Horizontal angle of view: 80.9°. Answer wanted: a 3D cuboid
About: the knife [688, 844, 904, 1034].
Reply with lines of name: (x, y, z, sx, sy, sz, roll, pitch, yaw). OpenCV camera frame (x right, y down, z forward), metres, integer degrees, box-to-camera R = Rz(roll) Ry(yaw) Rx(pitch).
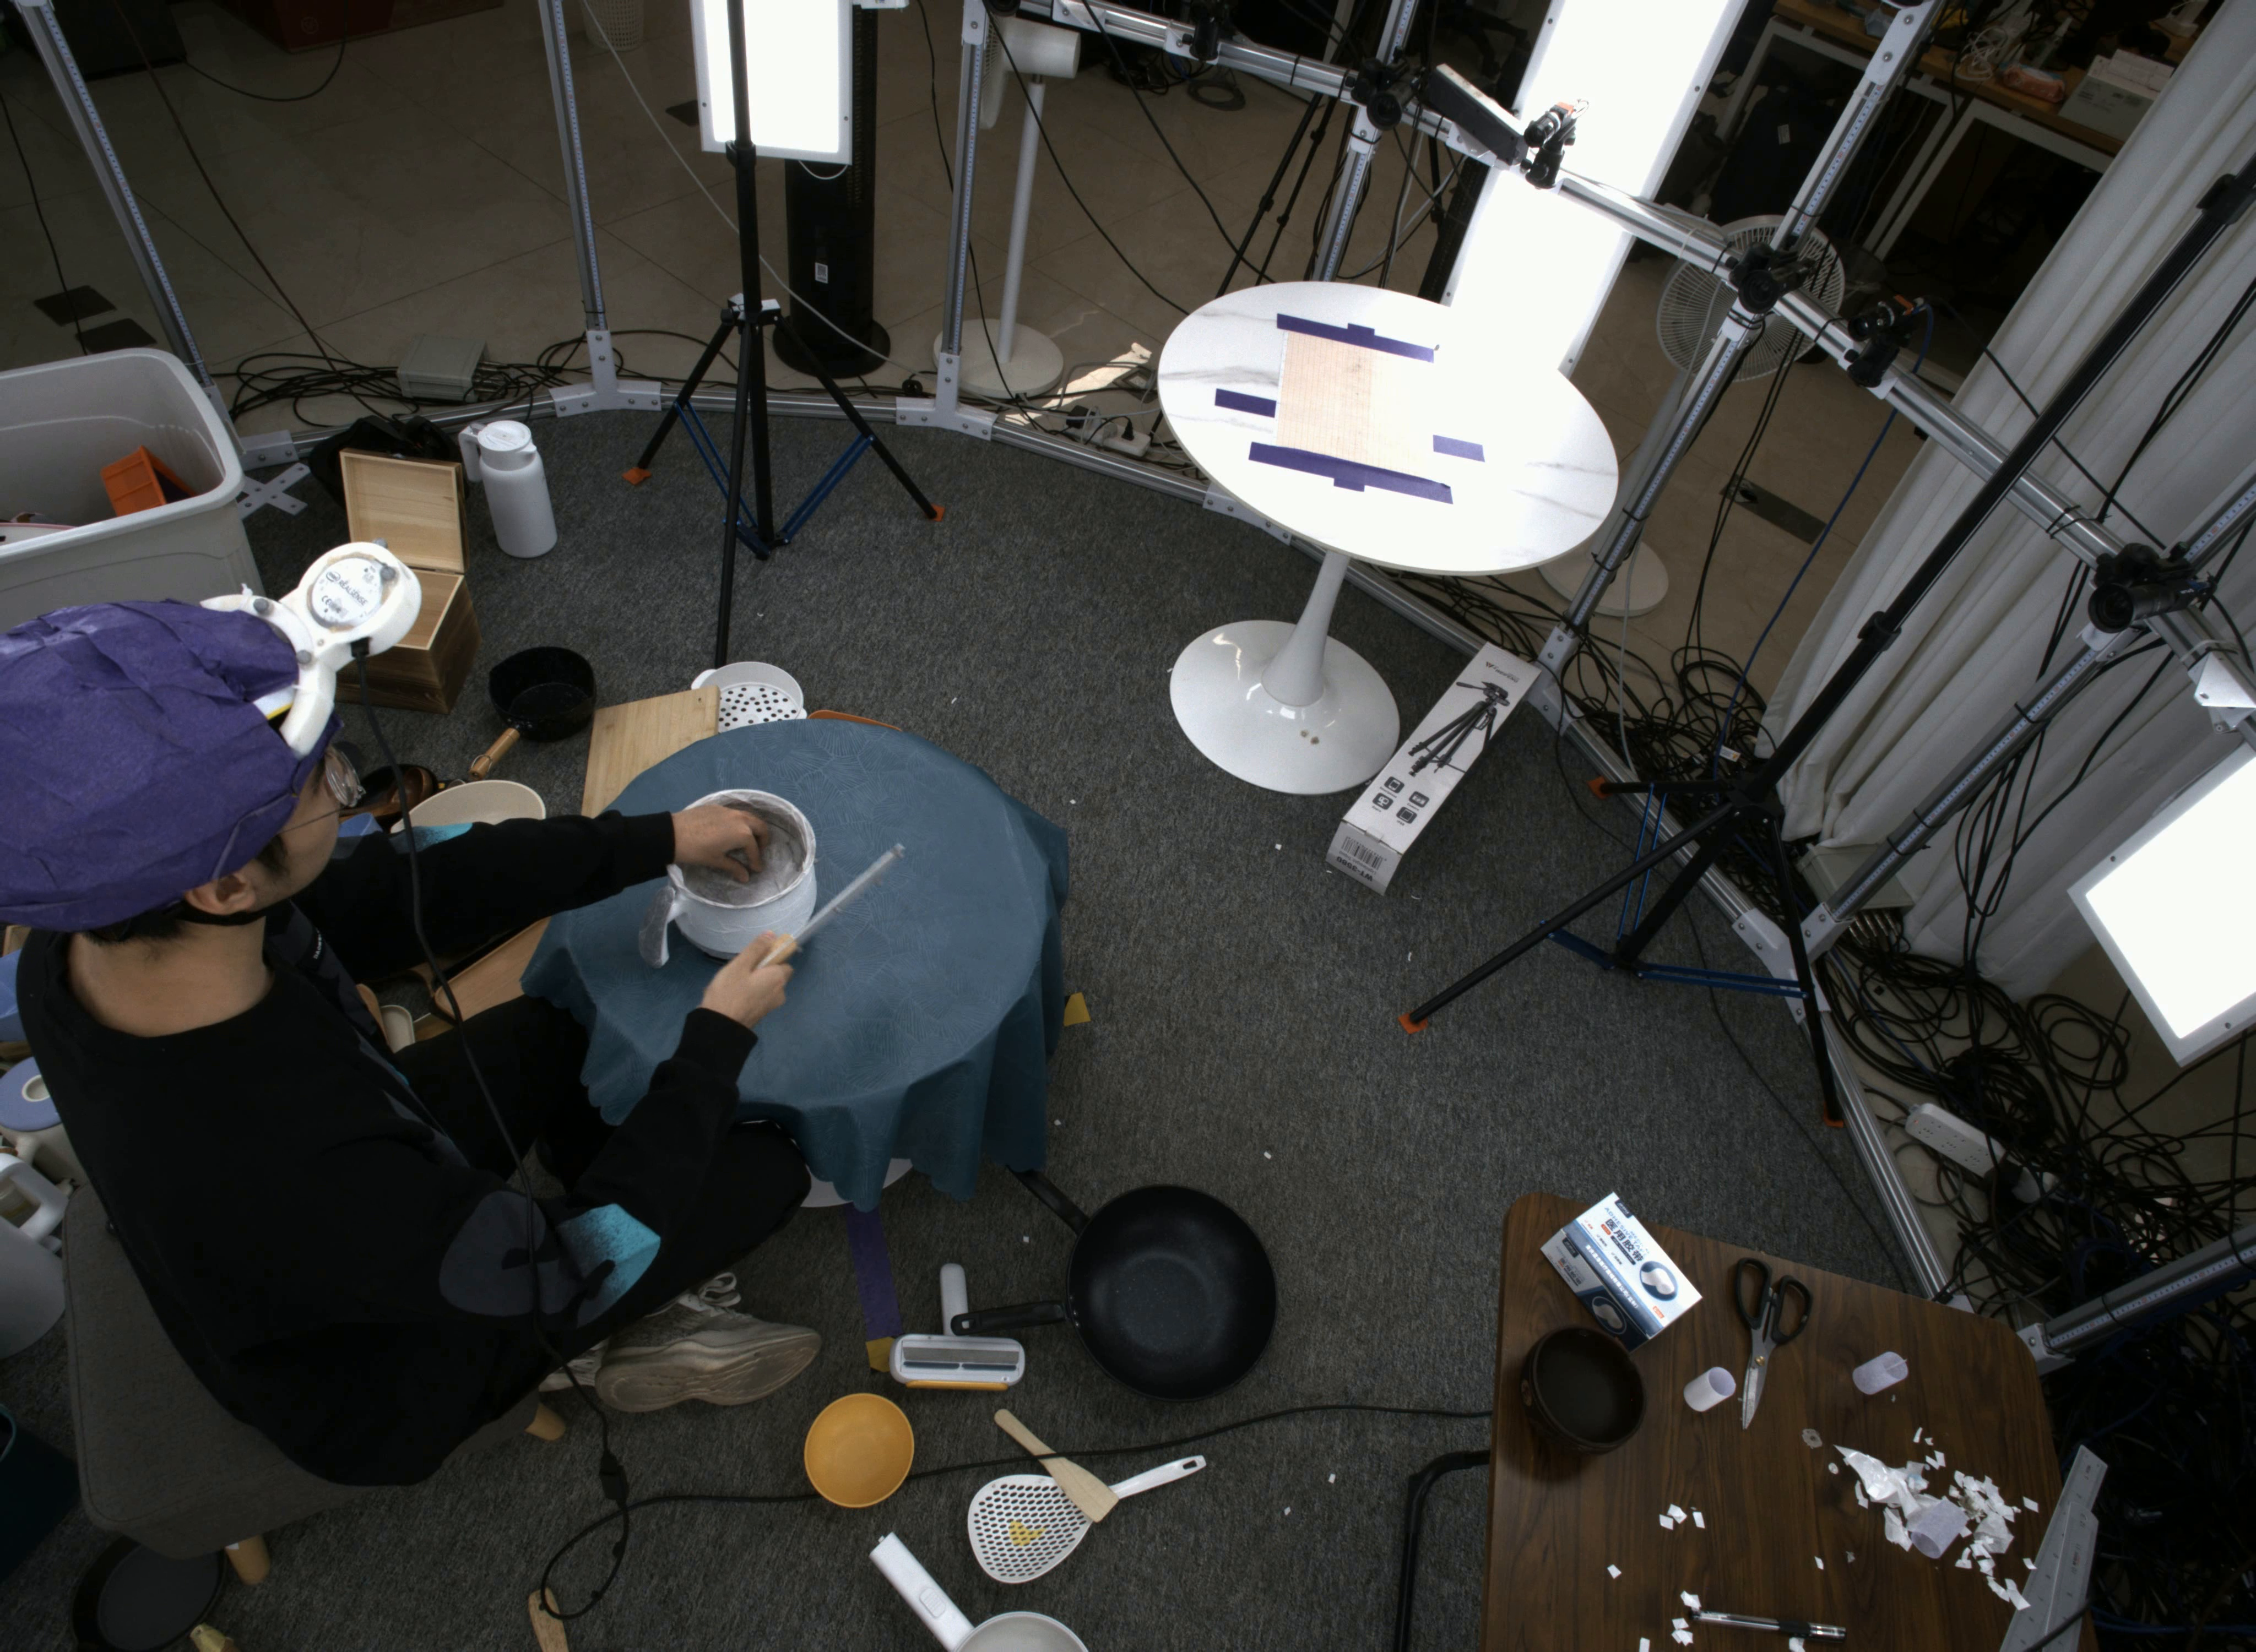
knife: (-0.347, 0.115, 1.389, 0.022, 0.114, 0.315, 45, 50, 2)

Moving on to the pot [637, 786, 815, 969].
pot: (-0.487, 0.074, 1.550, 0.175, 0.139, 0.234, 39, 52, 17)
